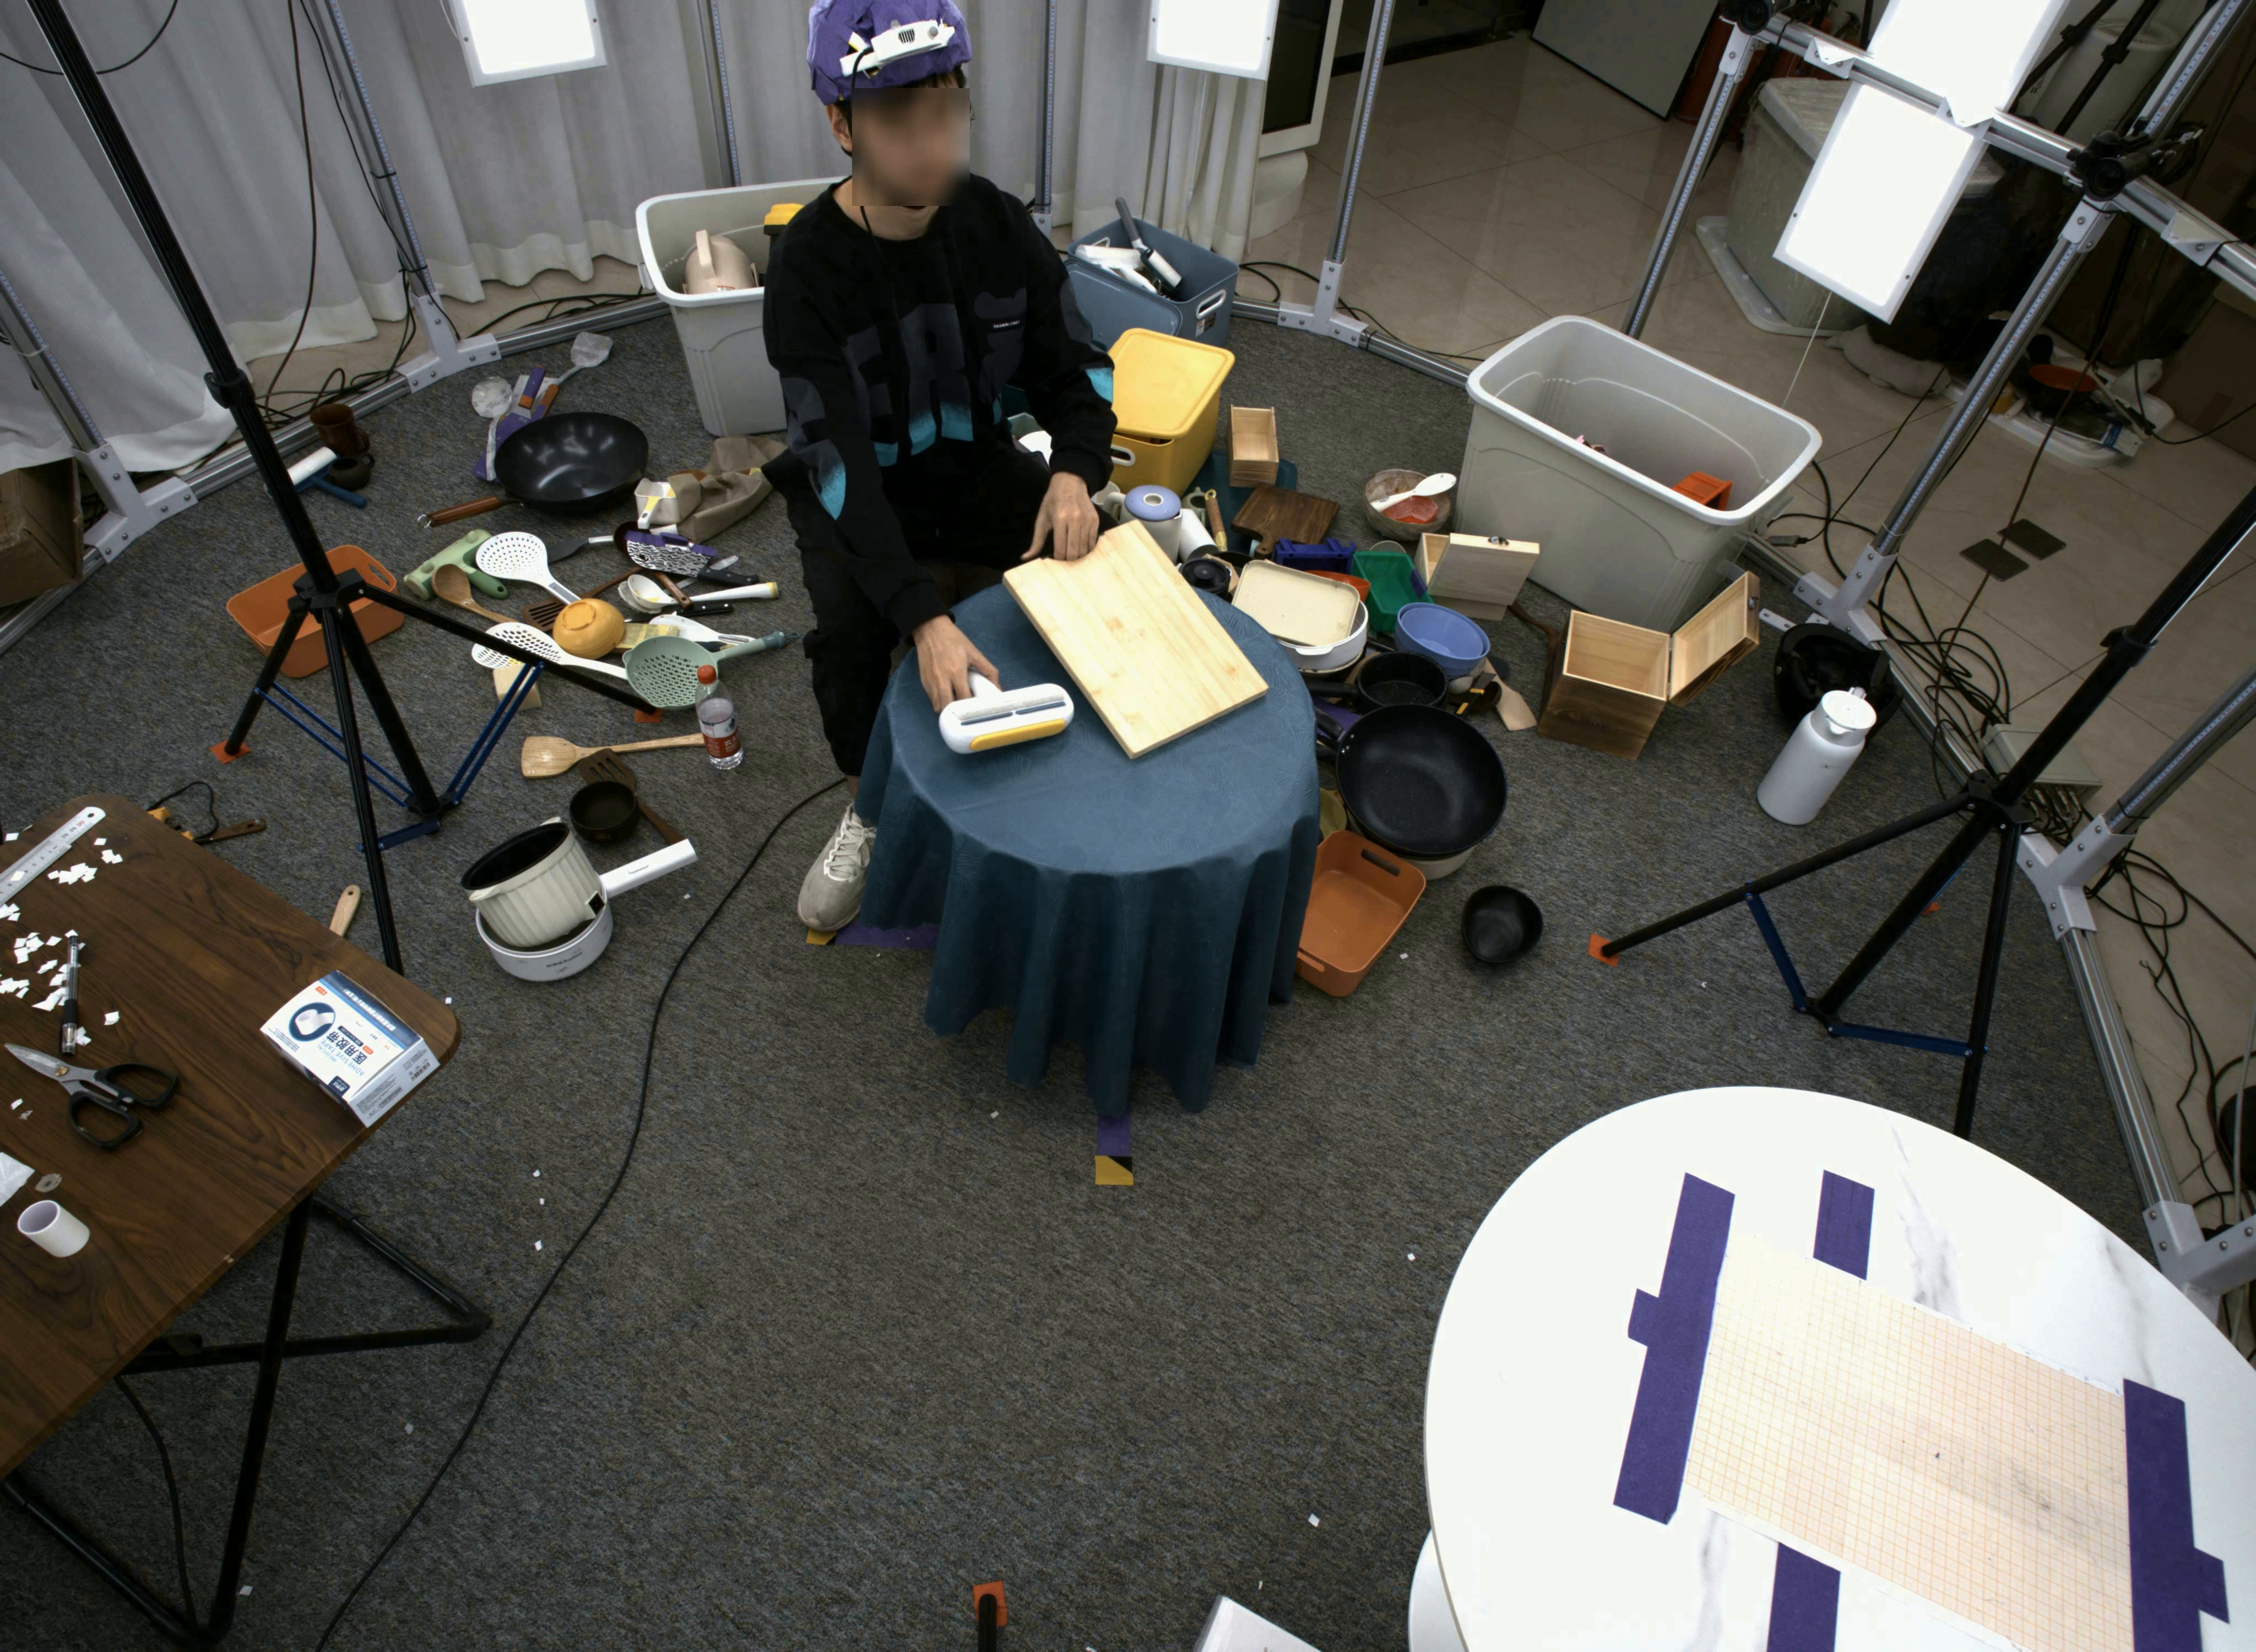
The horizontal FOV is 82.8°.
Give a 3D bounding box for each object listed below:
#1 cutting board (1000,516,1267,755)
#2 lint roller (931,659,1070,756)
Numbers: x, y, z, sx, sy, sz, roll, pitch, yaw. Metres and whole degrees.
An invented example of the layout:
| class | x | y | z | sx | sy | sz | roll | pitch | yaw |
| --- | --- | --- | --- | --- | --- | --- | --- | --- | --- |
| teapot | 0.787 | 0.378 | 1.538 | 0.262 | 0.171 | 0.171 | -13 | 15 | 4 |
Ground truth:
| class | x | y | z | sx | sy | sz | roll | pitch | yaw |
| --- | --- | --- | --- | --- | --- | --- | --- | --- | --- |
| cutting board | 0.007 | -0.280 | 1.850 | 0.252 | 0.023 | 0.354 | -27 | 69 | -25 |
| lint roller | -0.196 | -0.179 | 1.765 | 0.193 | 0.072 | 0.197 | -14 | 51 | -25 |
